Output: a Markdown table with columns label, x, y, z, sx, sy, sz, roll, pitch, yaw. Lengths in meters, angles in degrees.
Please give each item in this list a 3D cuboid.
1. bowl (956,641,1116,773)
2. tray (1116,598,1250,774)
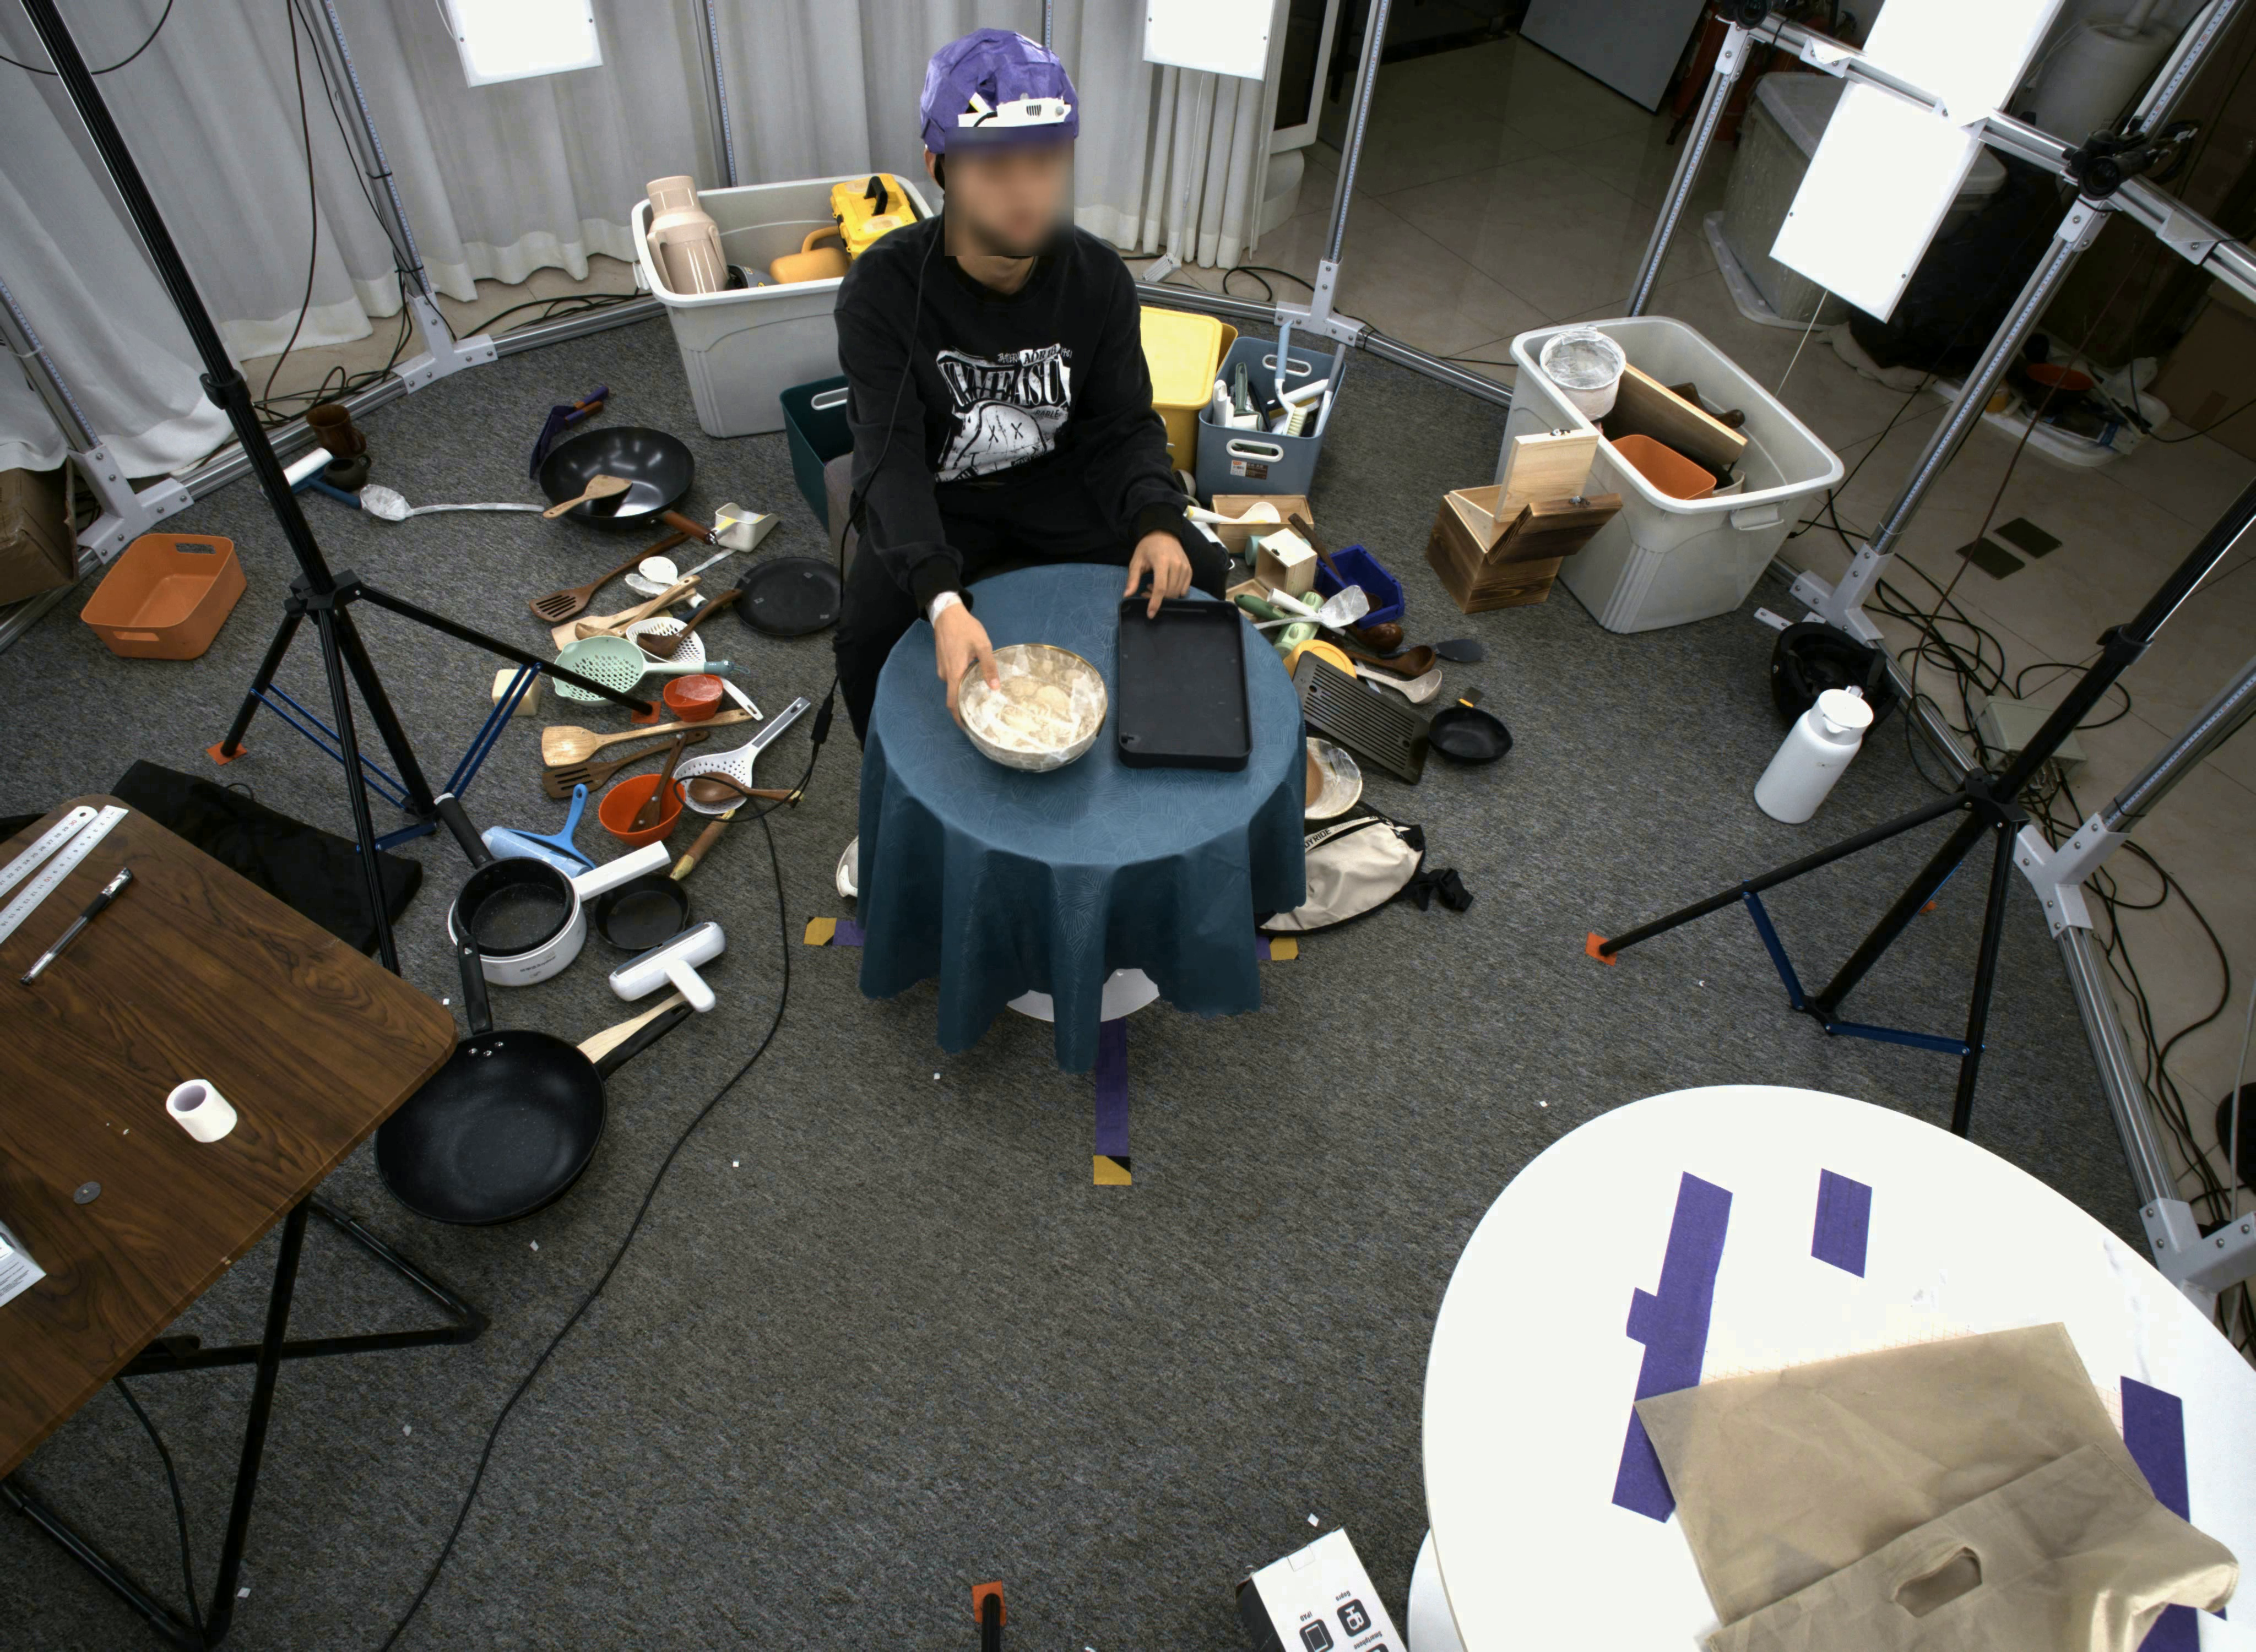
| label | x | y | z | sx | sy | sz | roll | pitch | yaw |
| --- | --- | --- | --- | --- | --- | --- | --- | --- | --- |
| bowl | -0.126 | -0.147 | 1.743 | 0.214 | 0.092 | 0.220 | 1 | 50 | -2 |
| tray | 0.077 | -0.206 | 1.847 | 0.184 | 0.036 | 0.326 | 3 | 50 | -1 |
